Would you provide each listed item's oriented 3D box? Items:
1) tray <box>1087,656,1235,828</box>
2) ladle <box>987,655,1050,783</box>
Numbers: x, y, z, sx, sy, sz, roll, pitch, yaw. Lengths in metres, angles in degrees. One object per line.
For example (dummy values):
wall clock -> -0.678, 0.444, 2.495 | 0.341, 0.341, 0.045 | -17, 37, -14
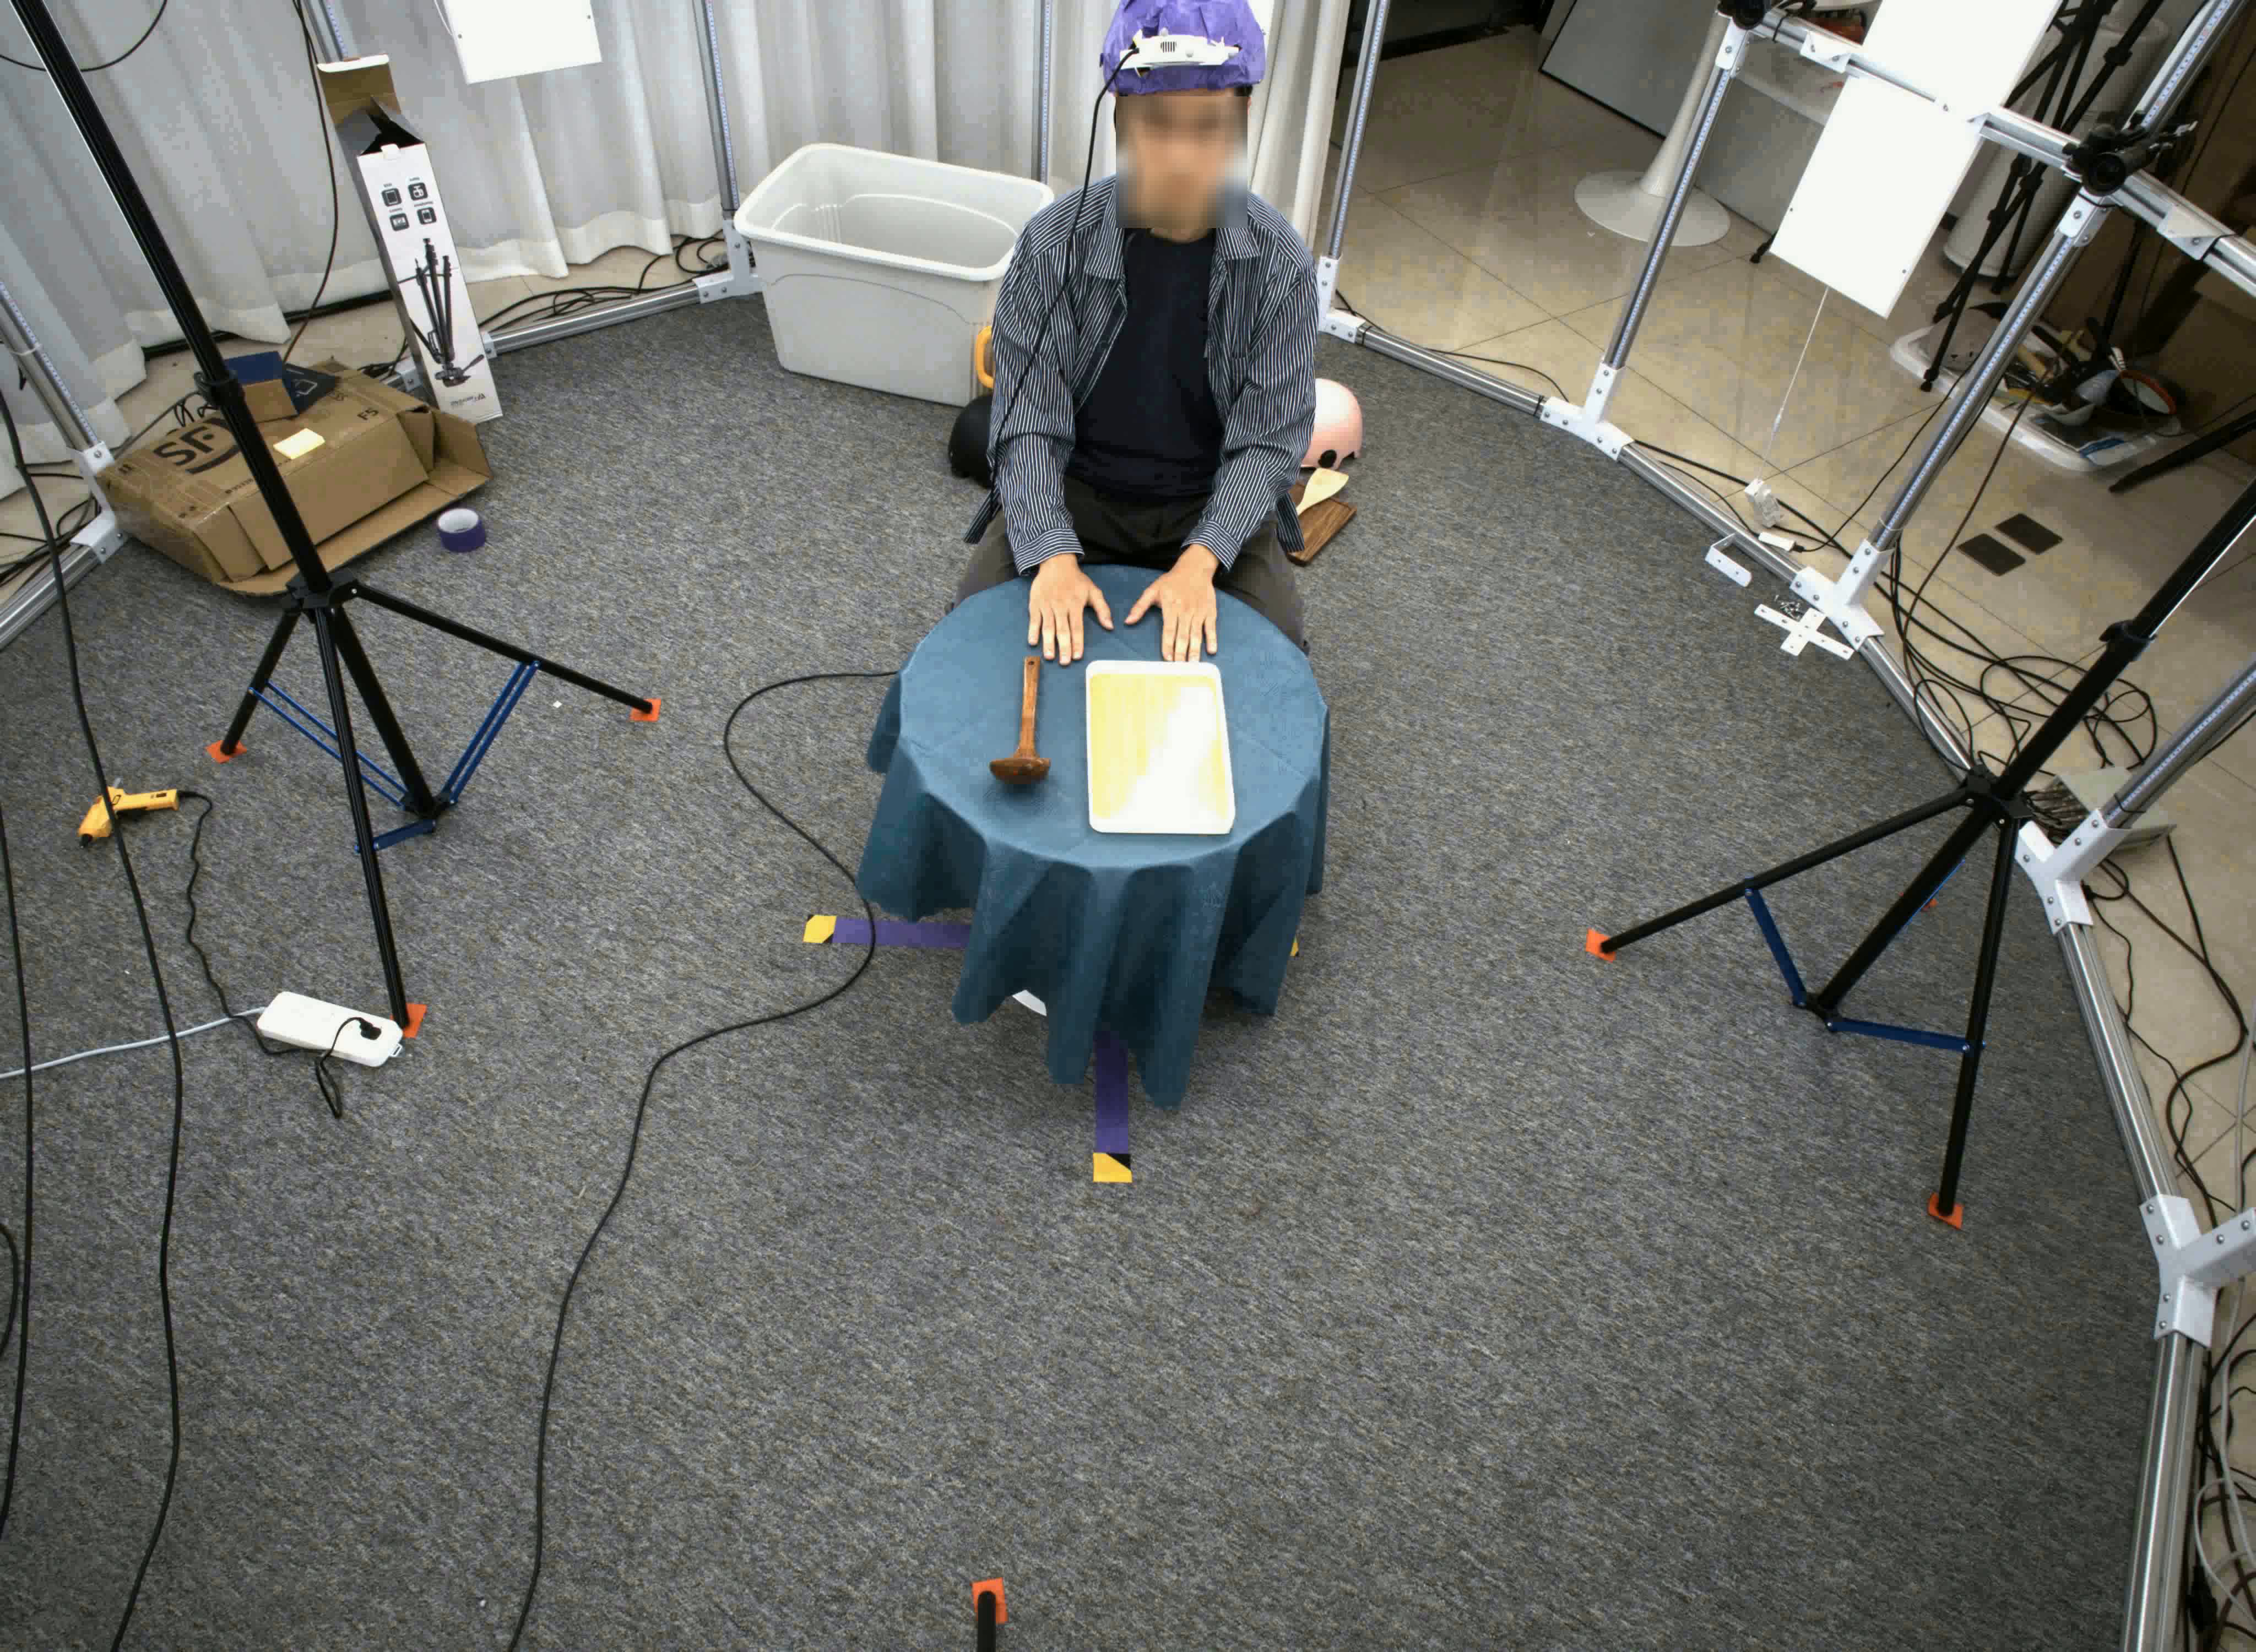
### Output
tray -> 0.040, -0.119, 1.749 | 0.191, 0.027, 0.308 | 1, 48, -4
ladle -> -0.139, -0.160, 1.736 | 0.082, 0.075, 0.281 | 2, 49, 1
